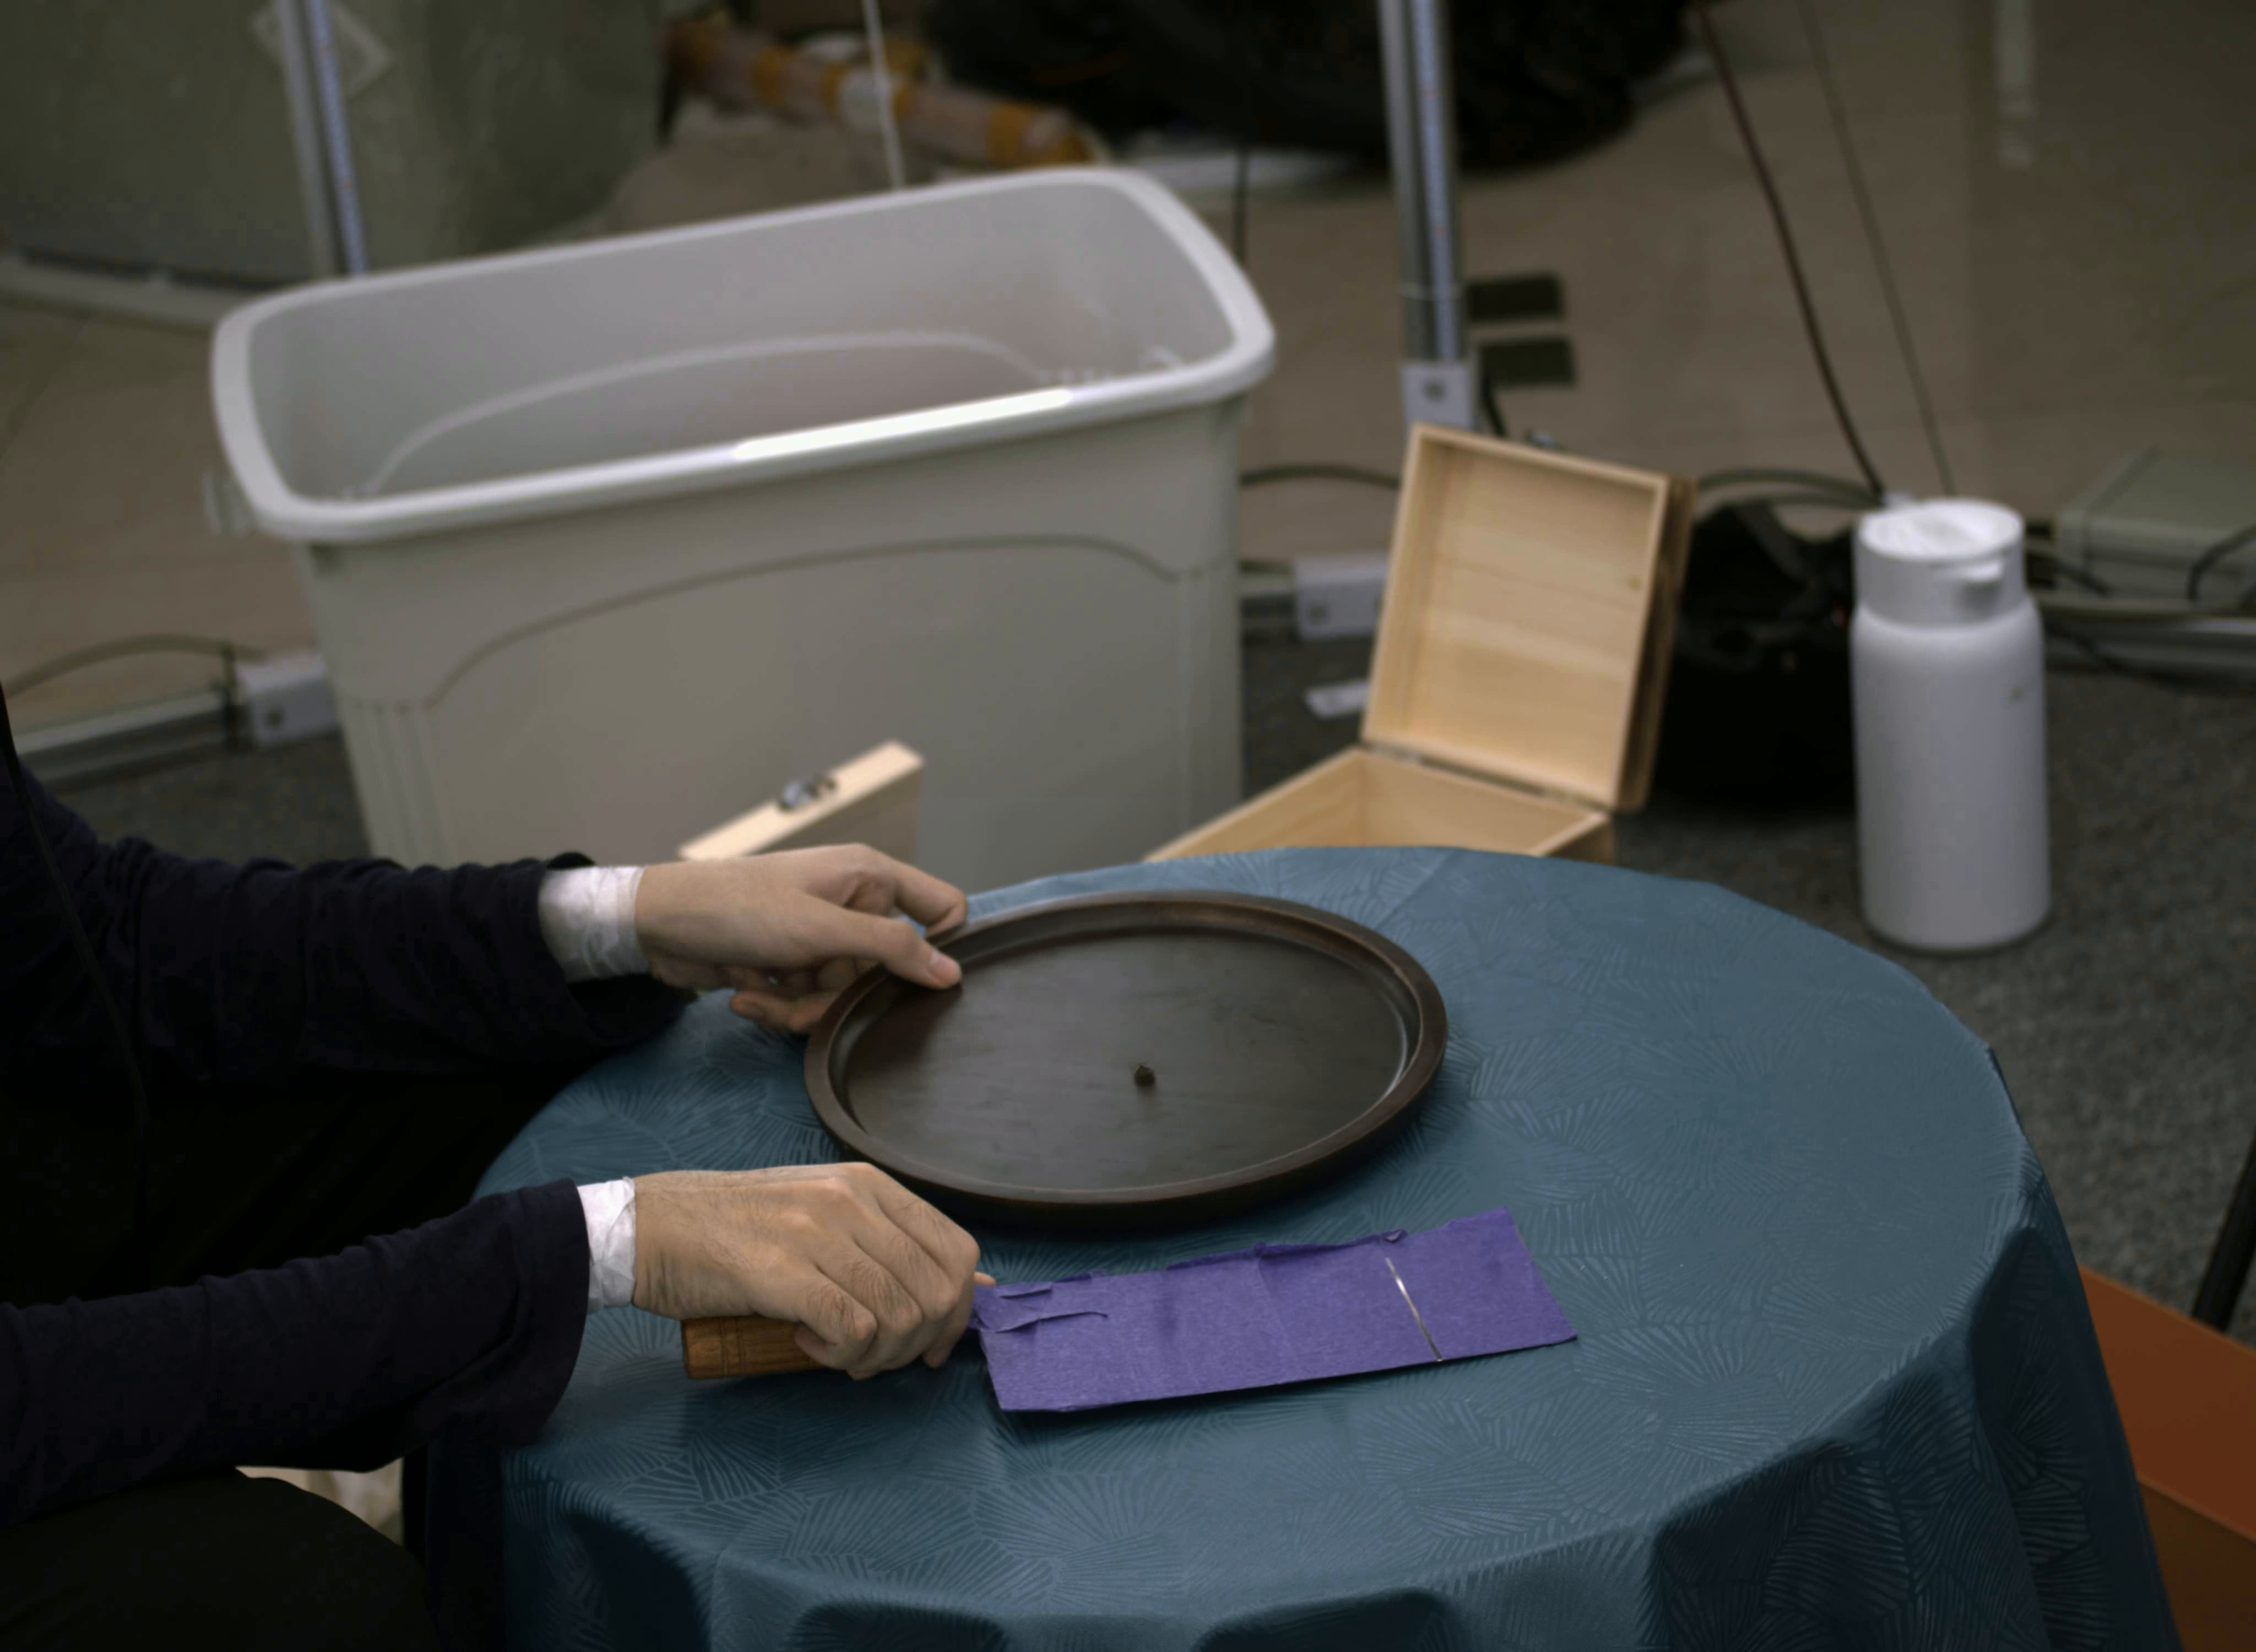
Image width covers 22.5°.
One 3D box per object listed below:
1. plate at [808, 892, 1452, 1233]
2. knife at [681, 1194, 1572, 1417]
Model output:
[{"bbox_3d":[0.001,0.090,2.214,0.254,0.029,0.251,-2,27,1],"label":"plate"},{"bbox_3d":[-0.001,0.178,2.035,0.314,0.033,0.102,-9,25,-7],"label":"knife"}]
